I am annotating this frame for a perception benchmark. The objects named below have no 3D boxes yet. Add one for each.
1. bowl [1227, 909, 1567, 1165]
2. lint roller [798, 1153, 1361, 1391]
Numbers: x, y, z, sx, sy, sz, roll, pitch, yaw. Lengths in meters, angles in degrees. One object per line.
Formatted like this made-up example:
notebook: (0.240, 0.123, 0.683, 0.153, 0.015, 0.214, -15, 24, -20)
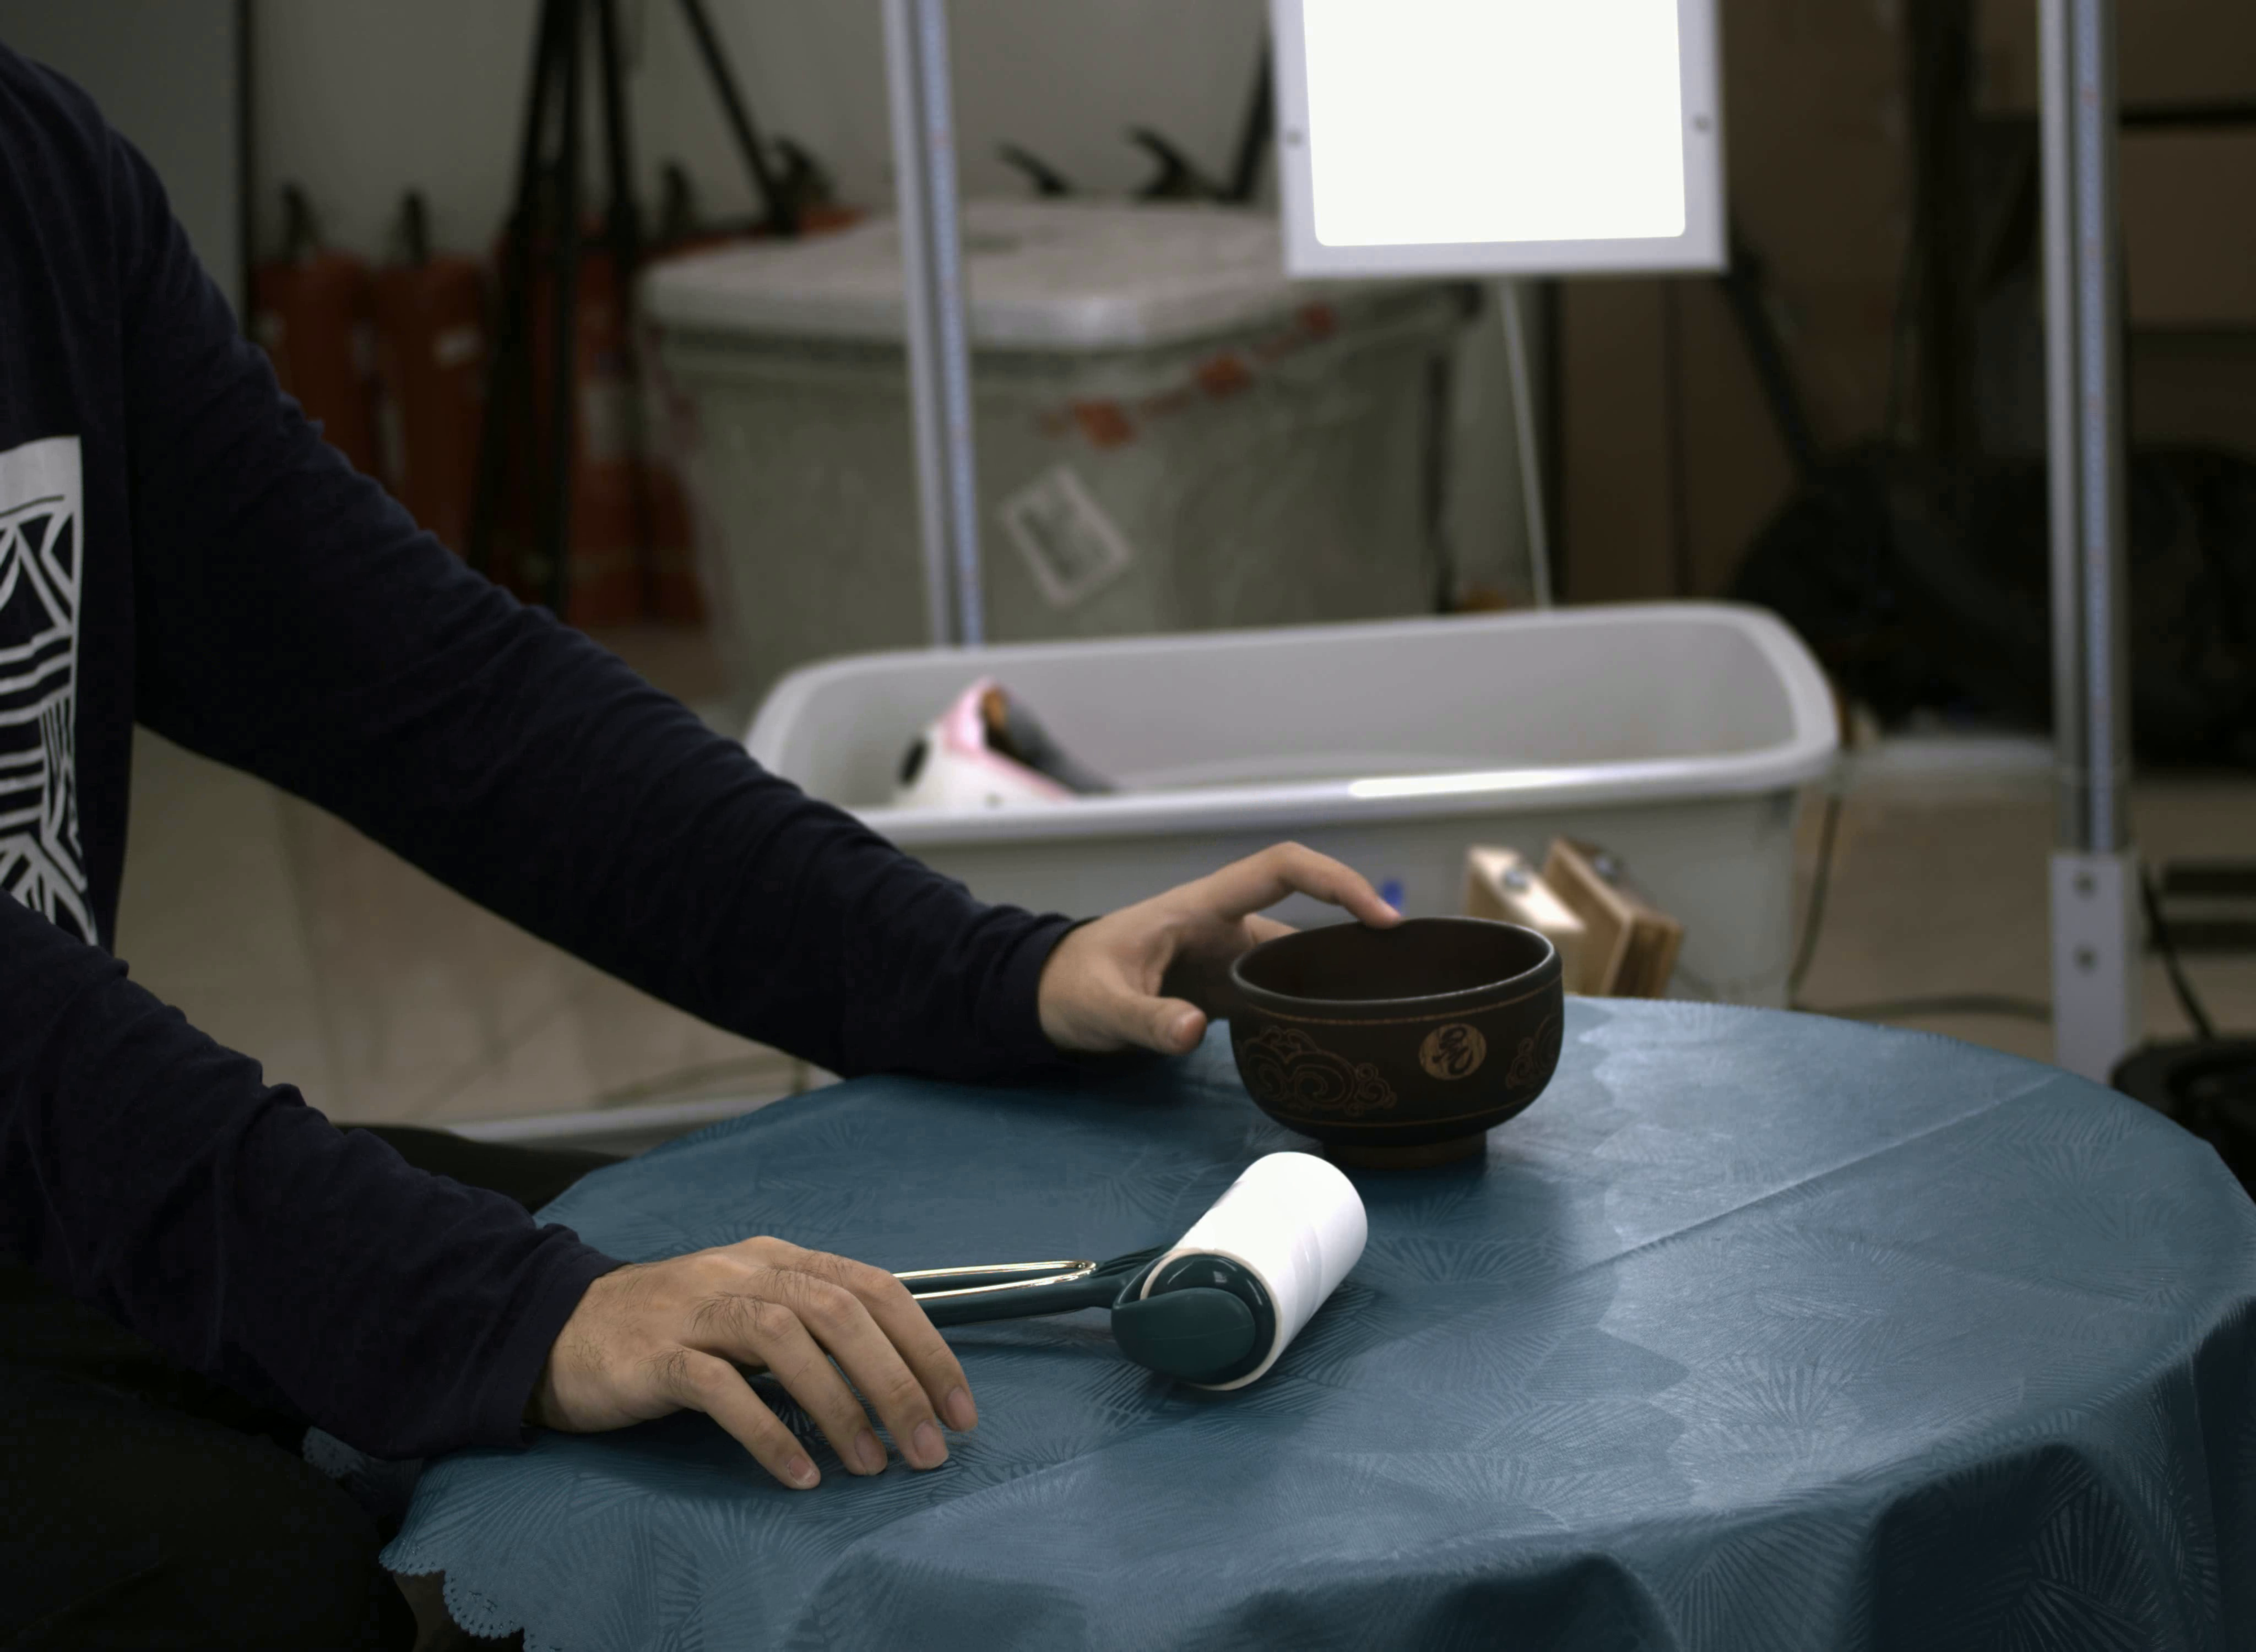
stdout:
bowl: (0.096, 0.077, 1.918, 0.118, 0.070, 0.118, -7, 14, 0)
lint roller: (-0.023, 0.143, 1.759, 0.182, 0.048, 0.132, -3, 14, 20)
